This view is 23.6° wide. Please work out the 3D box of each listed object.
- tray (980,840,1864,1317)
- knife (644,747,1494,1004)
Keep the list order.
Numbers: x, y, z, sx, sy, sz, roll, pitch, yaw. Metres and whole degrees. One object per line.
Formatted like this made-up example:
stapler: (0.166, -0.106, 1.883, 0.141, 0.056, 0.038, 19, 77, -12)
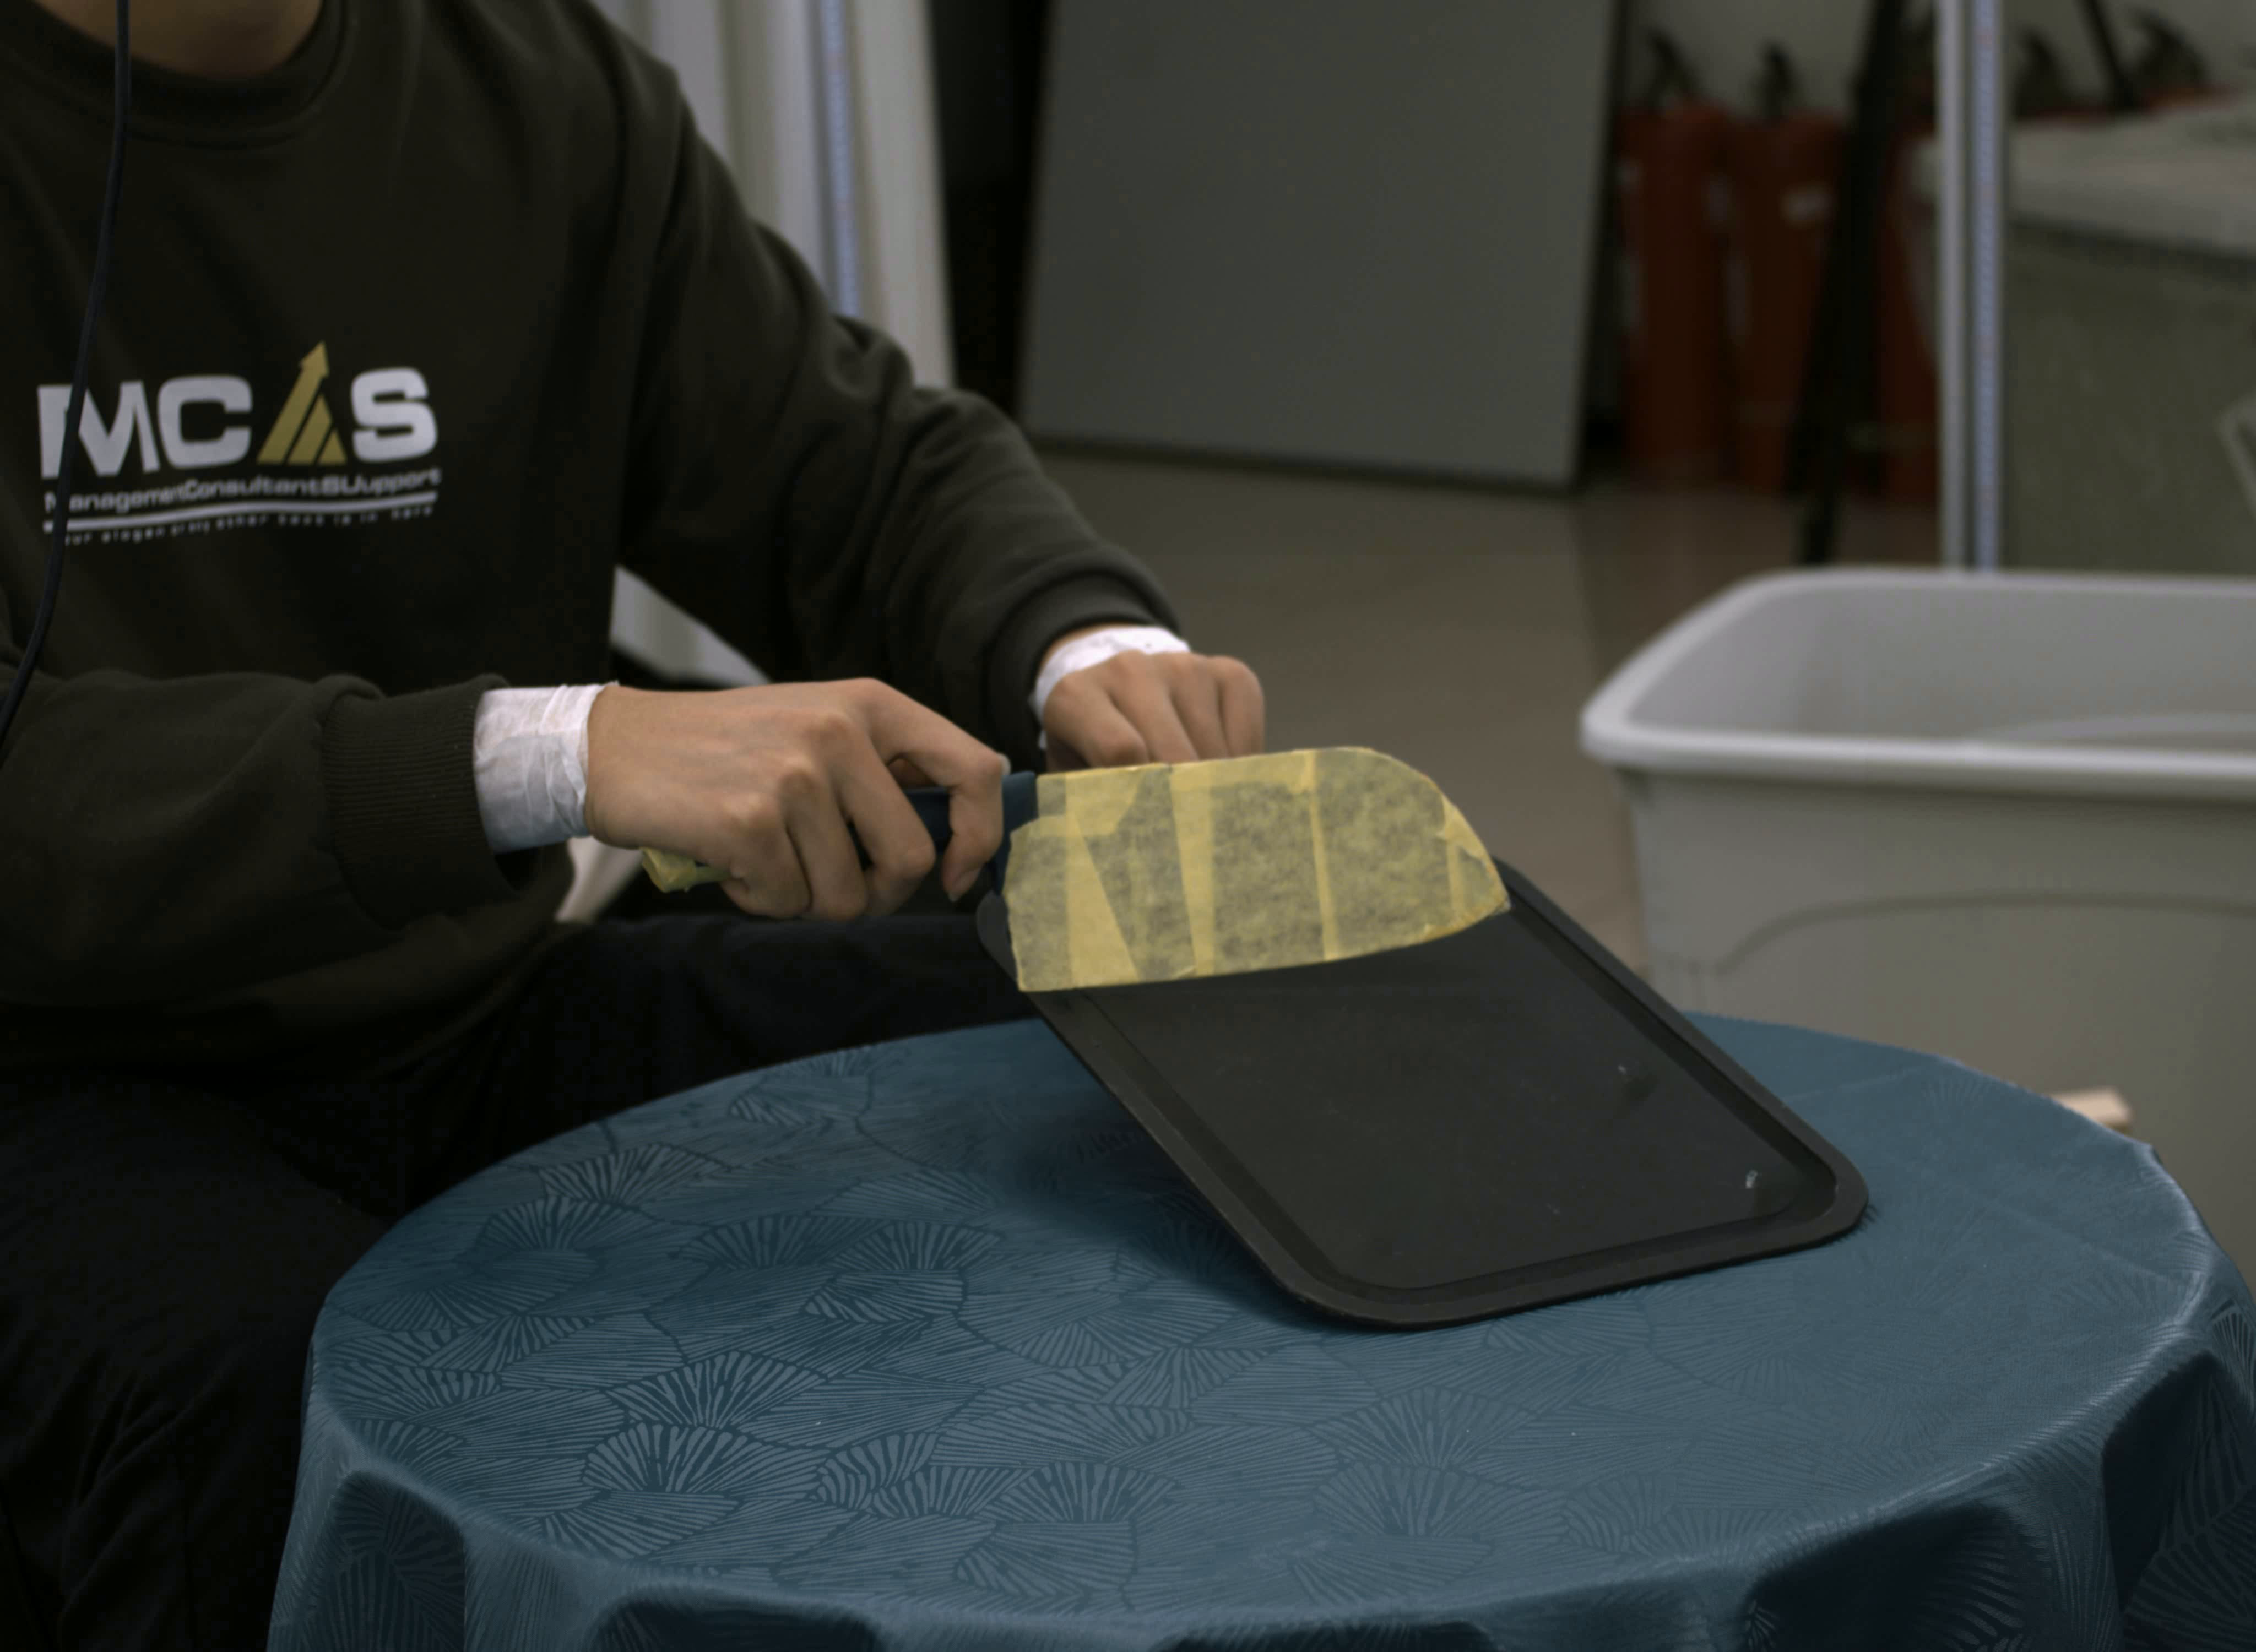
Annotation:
tray: (0.087, 0.070, 1.776, 0.206, 0.010, 0.329, -9, 29, -23)
knife: (-0.018, 0.018, 1.798, 0.285, 0.082, 0.027, -3, -9, -6)
